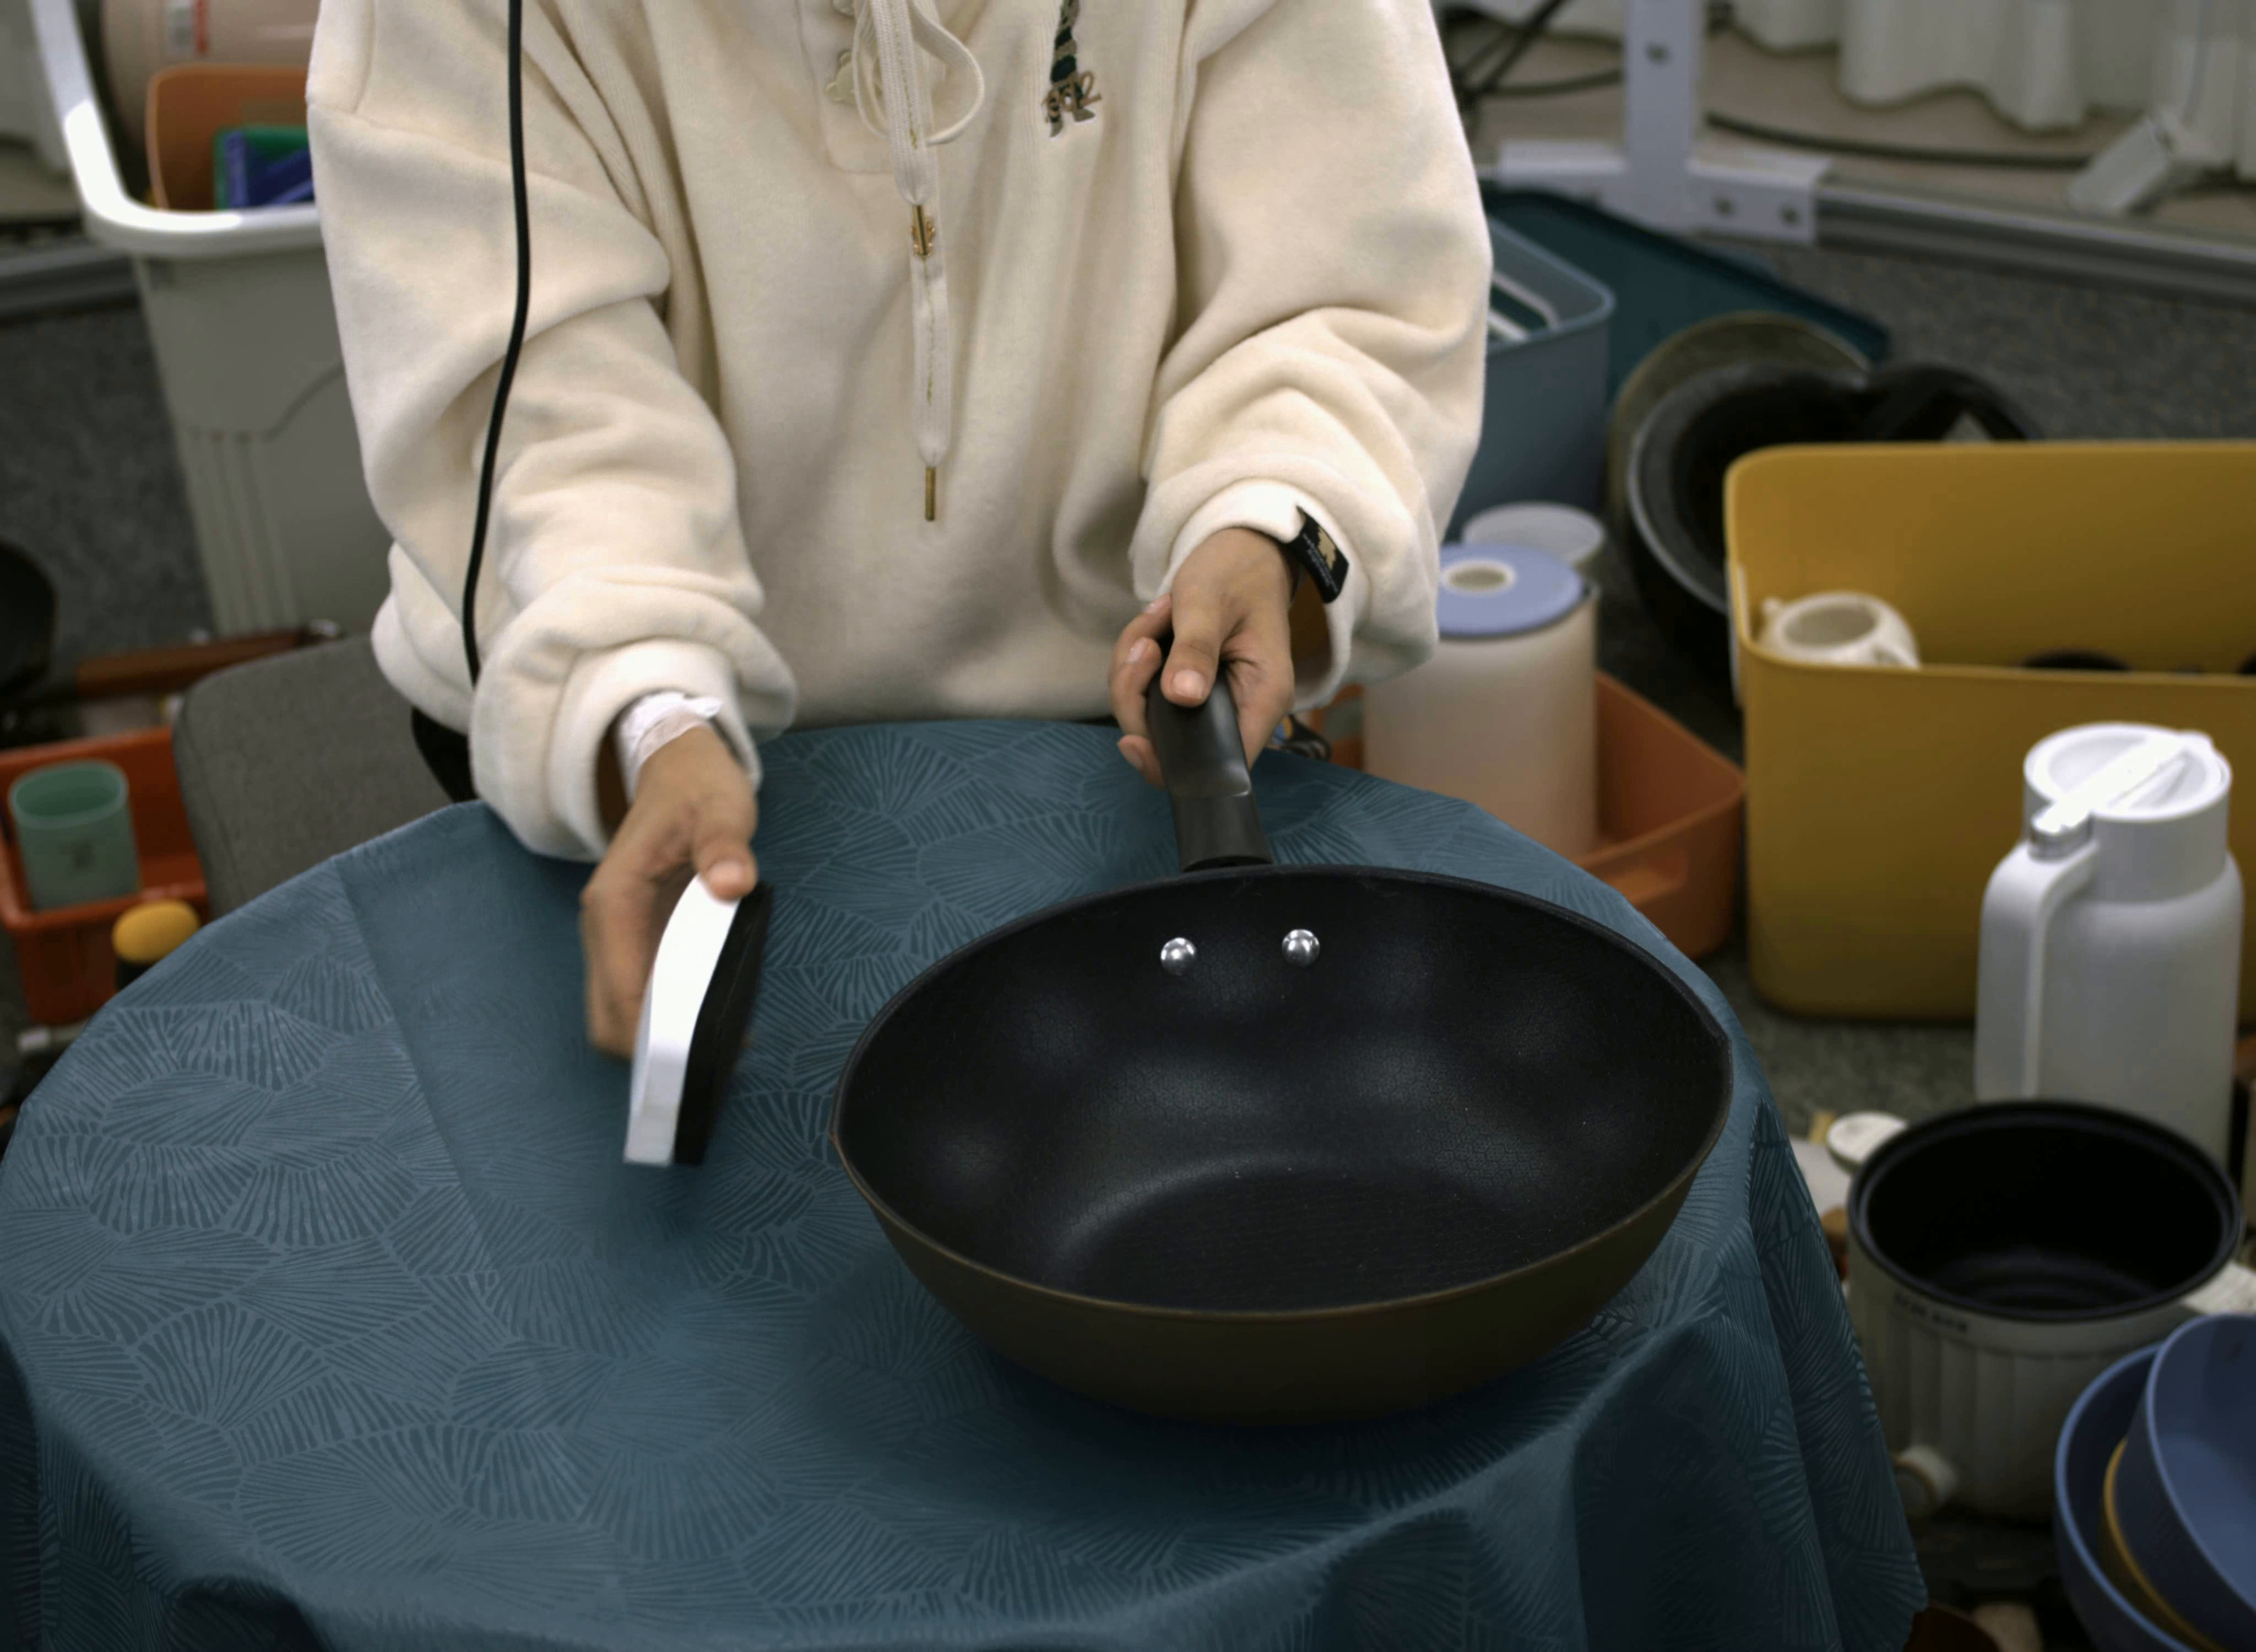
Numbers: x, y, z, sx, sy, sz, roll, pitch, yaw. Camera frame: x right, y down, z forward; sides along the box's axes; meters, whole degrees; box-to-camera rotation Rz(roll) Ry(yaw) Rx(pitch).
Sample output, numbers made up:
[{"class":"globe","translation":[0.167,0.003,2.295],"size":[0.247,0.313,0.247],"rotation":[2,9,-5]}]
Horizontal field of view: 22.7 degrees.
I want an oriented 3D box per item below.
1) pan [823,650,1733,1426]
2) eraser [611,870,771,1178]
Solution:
[{"class":"pan","translation":[0.041,0.072,1.865],"size":[0.287,0.086,0.469],"rotation":[-4,26,-3]},{"class":"eraser","translation":[-0.147,0.064,1.873],"size":[0.034,0.063,0.133],"rotation":[16,24,-4]}]
